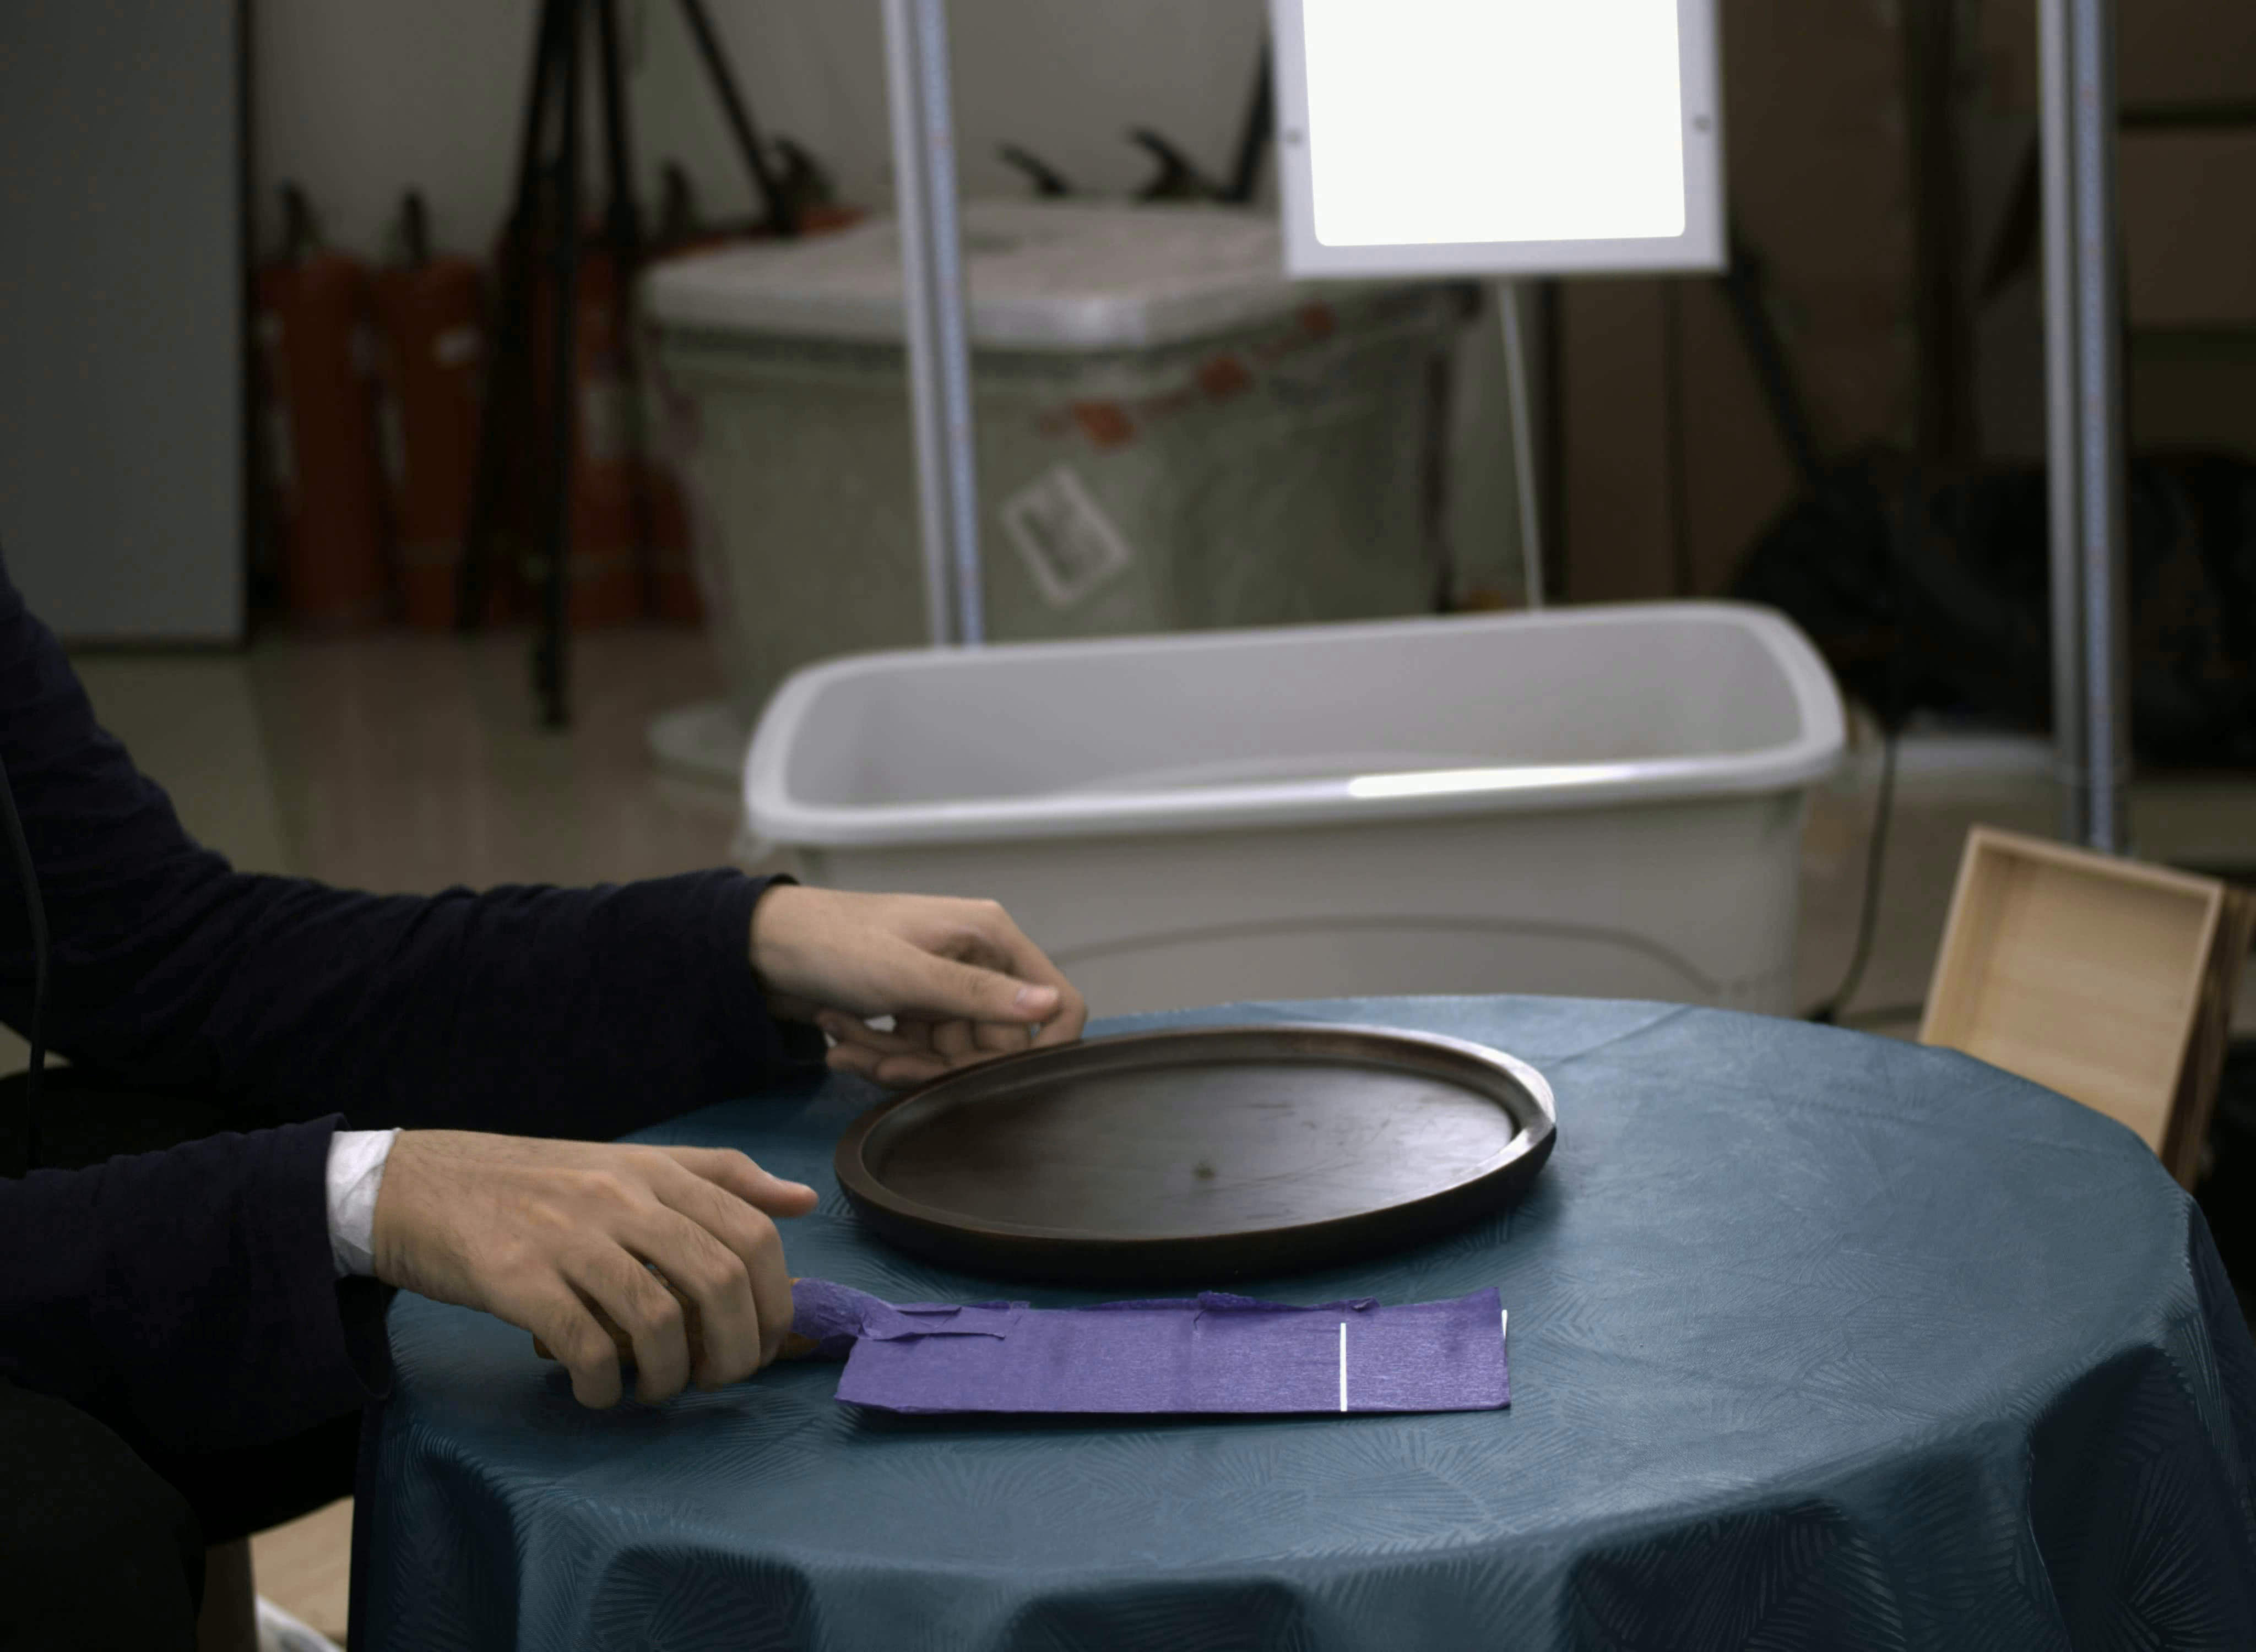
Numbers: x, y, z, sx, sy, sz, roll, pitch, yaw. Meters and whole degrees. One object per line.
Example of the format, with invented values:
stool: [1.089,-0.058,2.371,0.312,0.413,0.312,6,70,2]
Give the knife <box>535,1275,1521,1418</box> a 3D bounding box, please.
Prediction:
knife: [-0.035,0.161,1.718,0.316,0.032,0.103,-3,14,7]

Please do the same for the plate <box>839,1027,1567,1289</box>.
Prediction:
plate: [0.026,0.112,1.903,0.254,0.029,0.254,-4,14,0]
